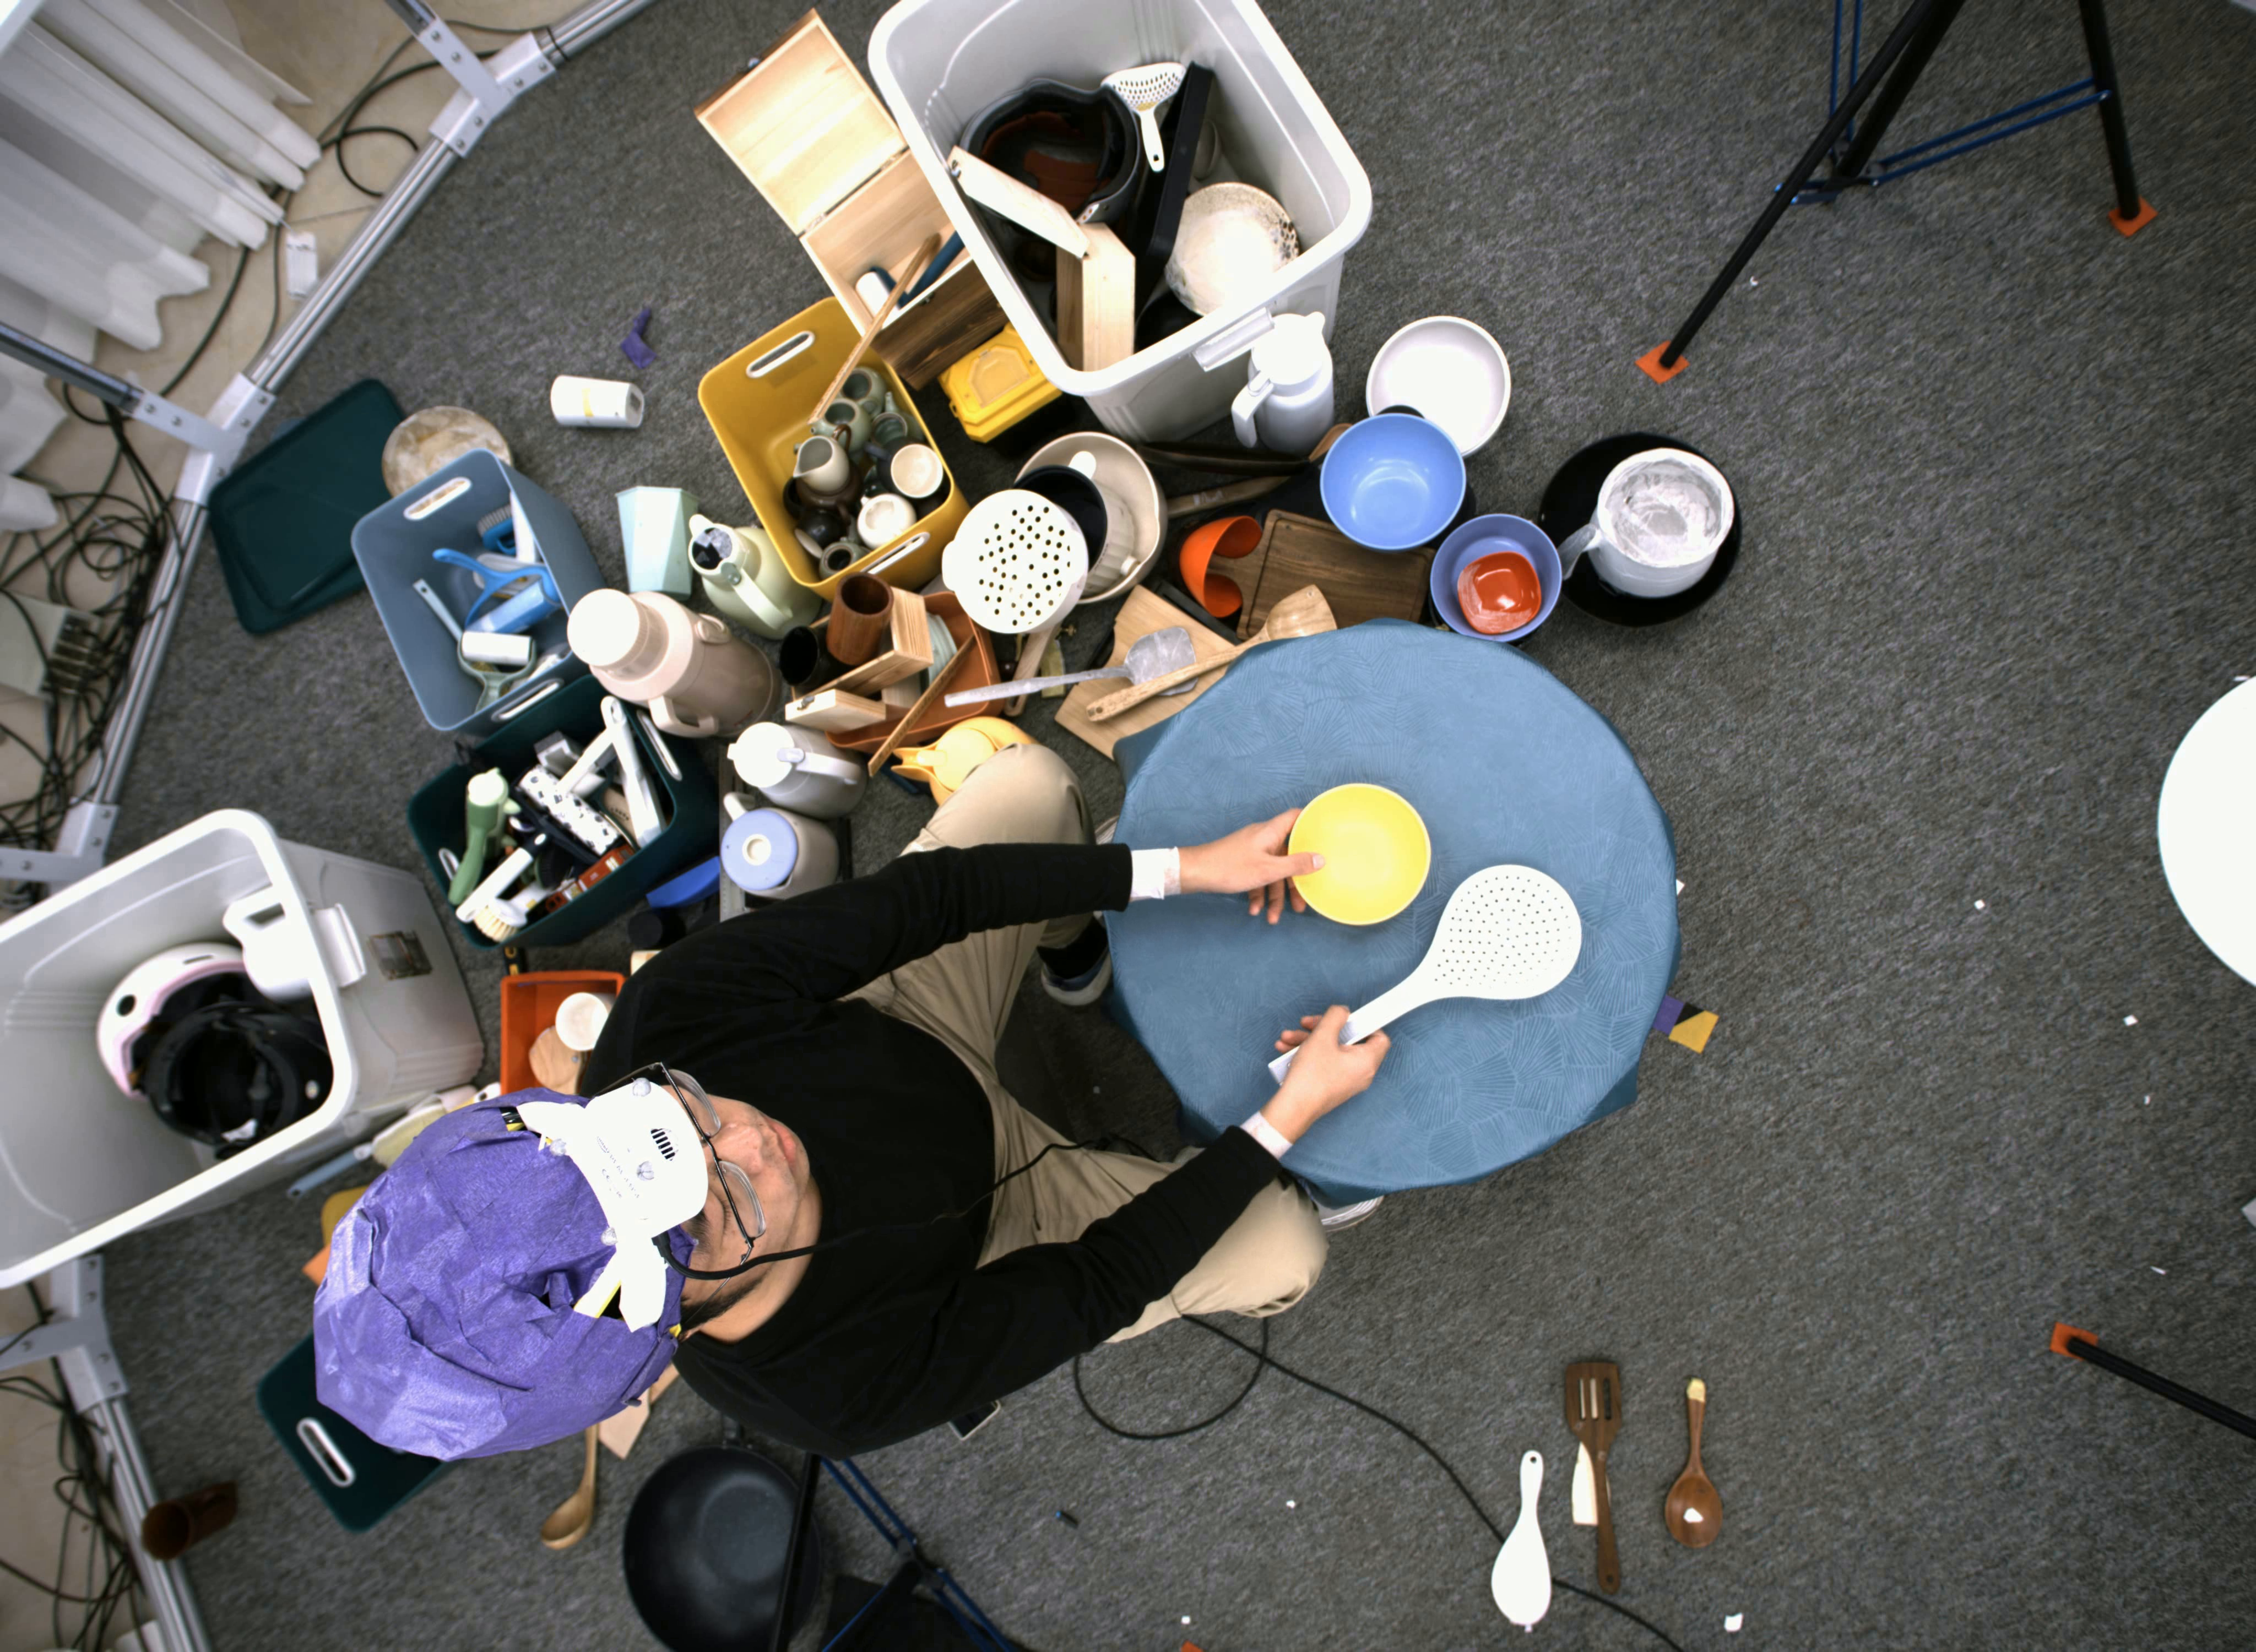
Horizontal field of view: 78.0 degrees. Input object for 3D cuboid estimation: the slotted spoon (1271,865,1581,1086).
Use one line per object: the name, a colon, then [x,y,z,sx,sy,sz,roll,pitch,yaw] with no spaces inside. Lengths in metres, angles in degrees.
slotted spoon: [0.299,0.162,1.405,0.349,0.046,0.134,-31,70,-2]

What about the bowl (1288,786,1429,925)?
bowl: [0.240,0.032,1.439,0.146,0.060,0.144,-1,84,10]
